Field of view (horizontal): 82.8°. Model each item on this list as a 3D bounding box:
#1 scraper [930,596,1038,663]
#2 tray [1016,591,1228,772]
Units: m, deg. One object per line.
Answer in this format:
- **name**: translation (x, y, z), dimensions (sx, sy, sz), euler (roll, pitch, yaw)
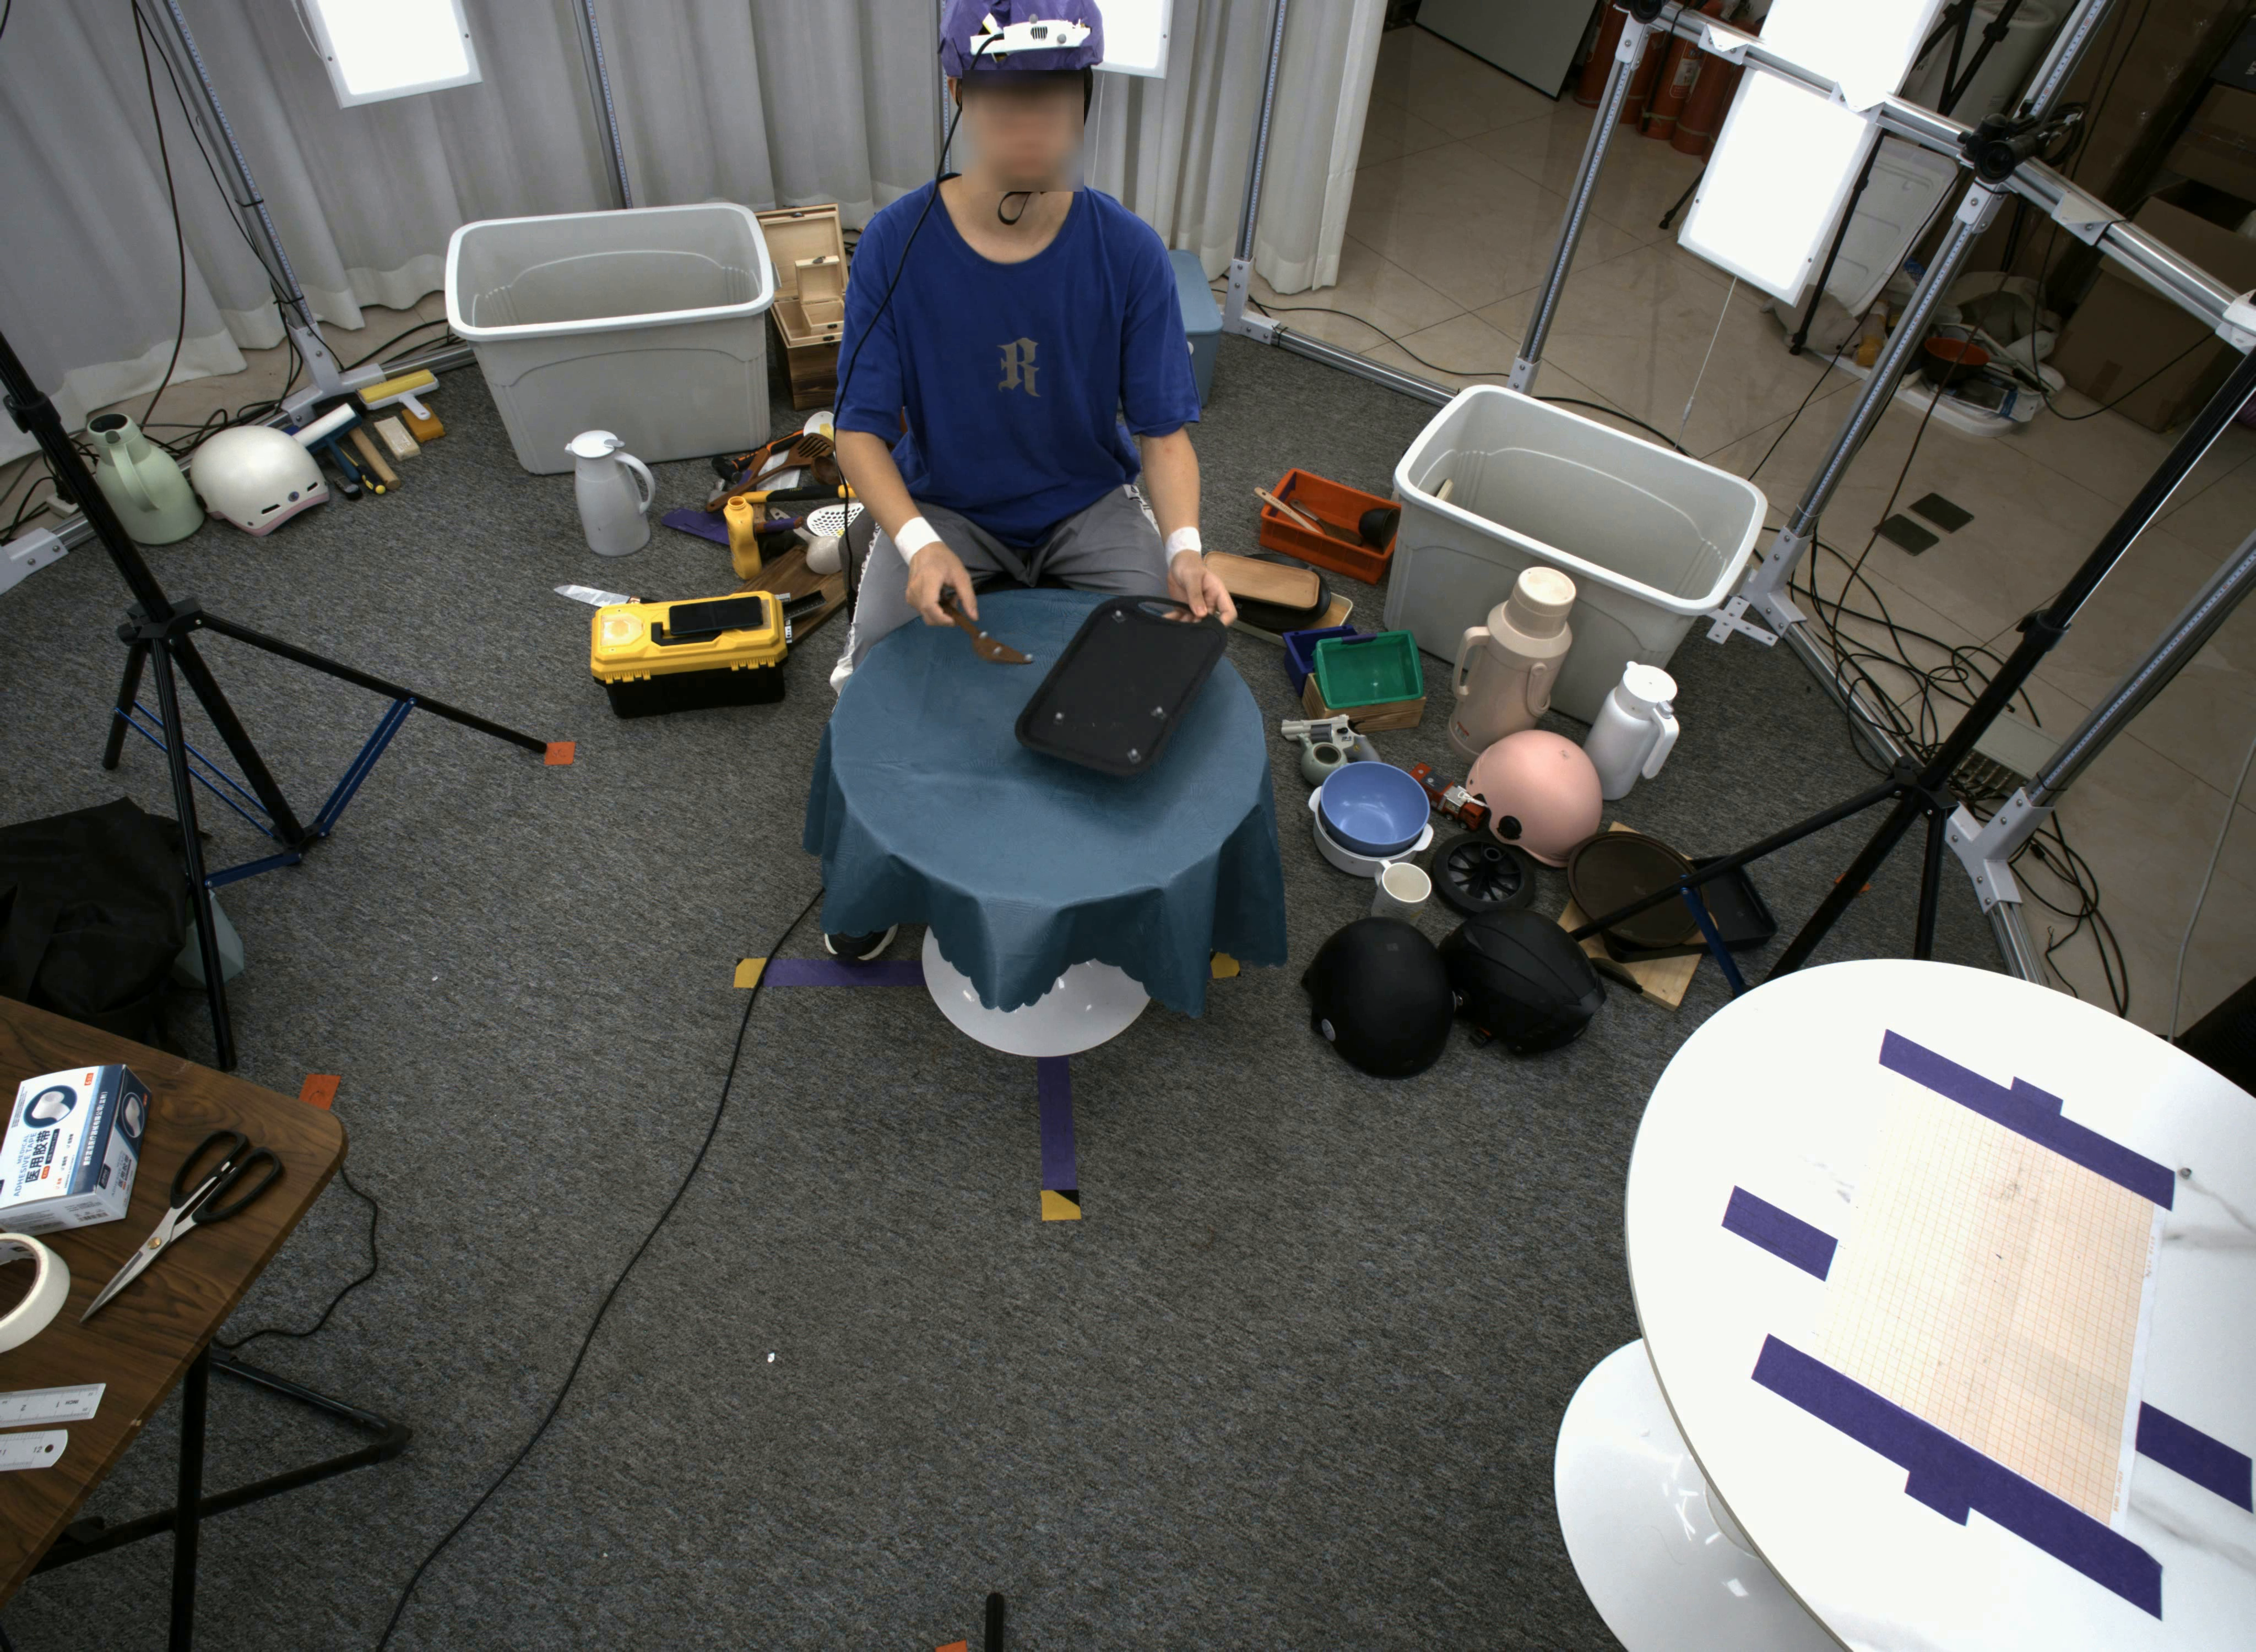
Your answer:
- **scraper**: translation (-0.204, -0.266, 1.739), dimensions (0.075, 0.010, 0.215), euler (3, 28, -44)
- **tray**: translation (-0.003, -0.212, 1.757), dimensions (0.213, 0.009, 0.331), euler (17, 56, 22)
